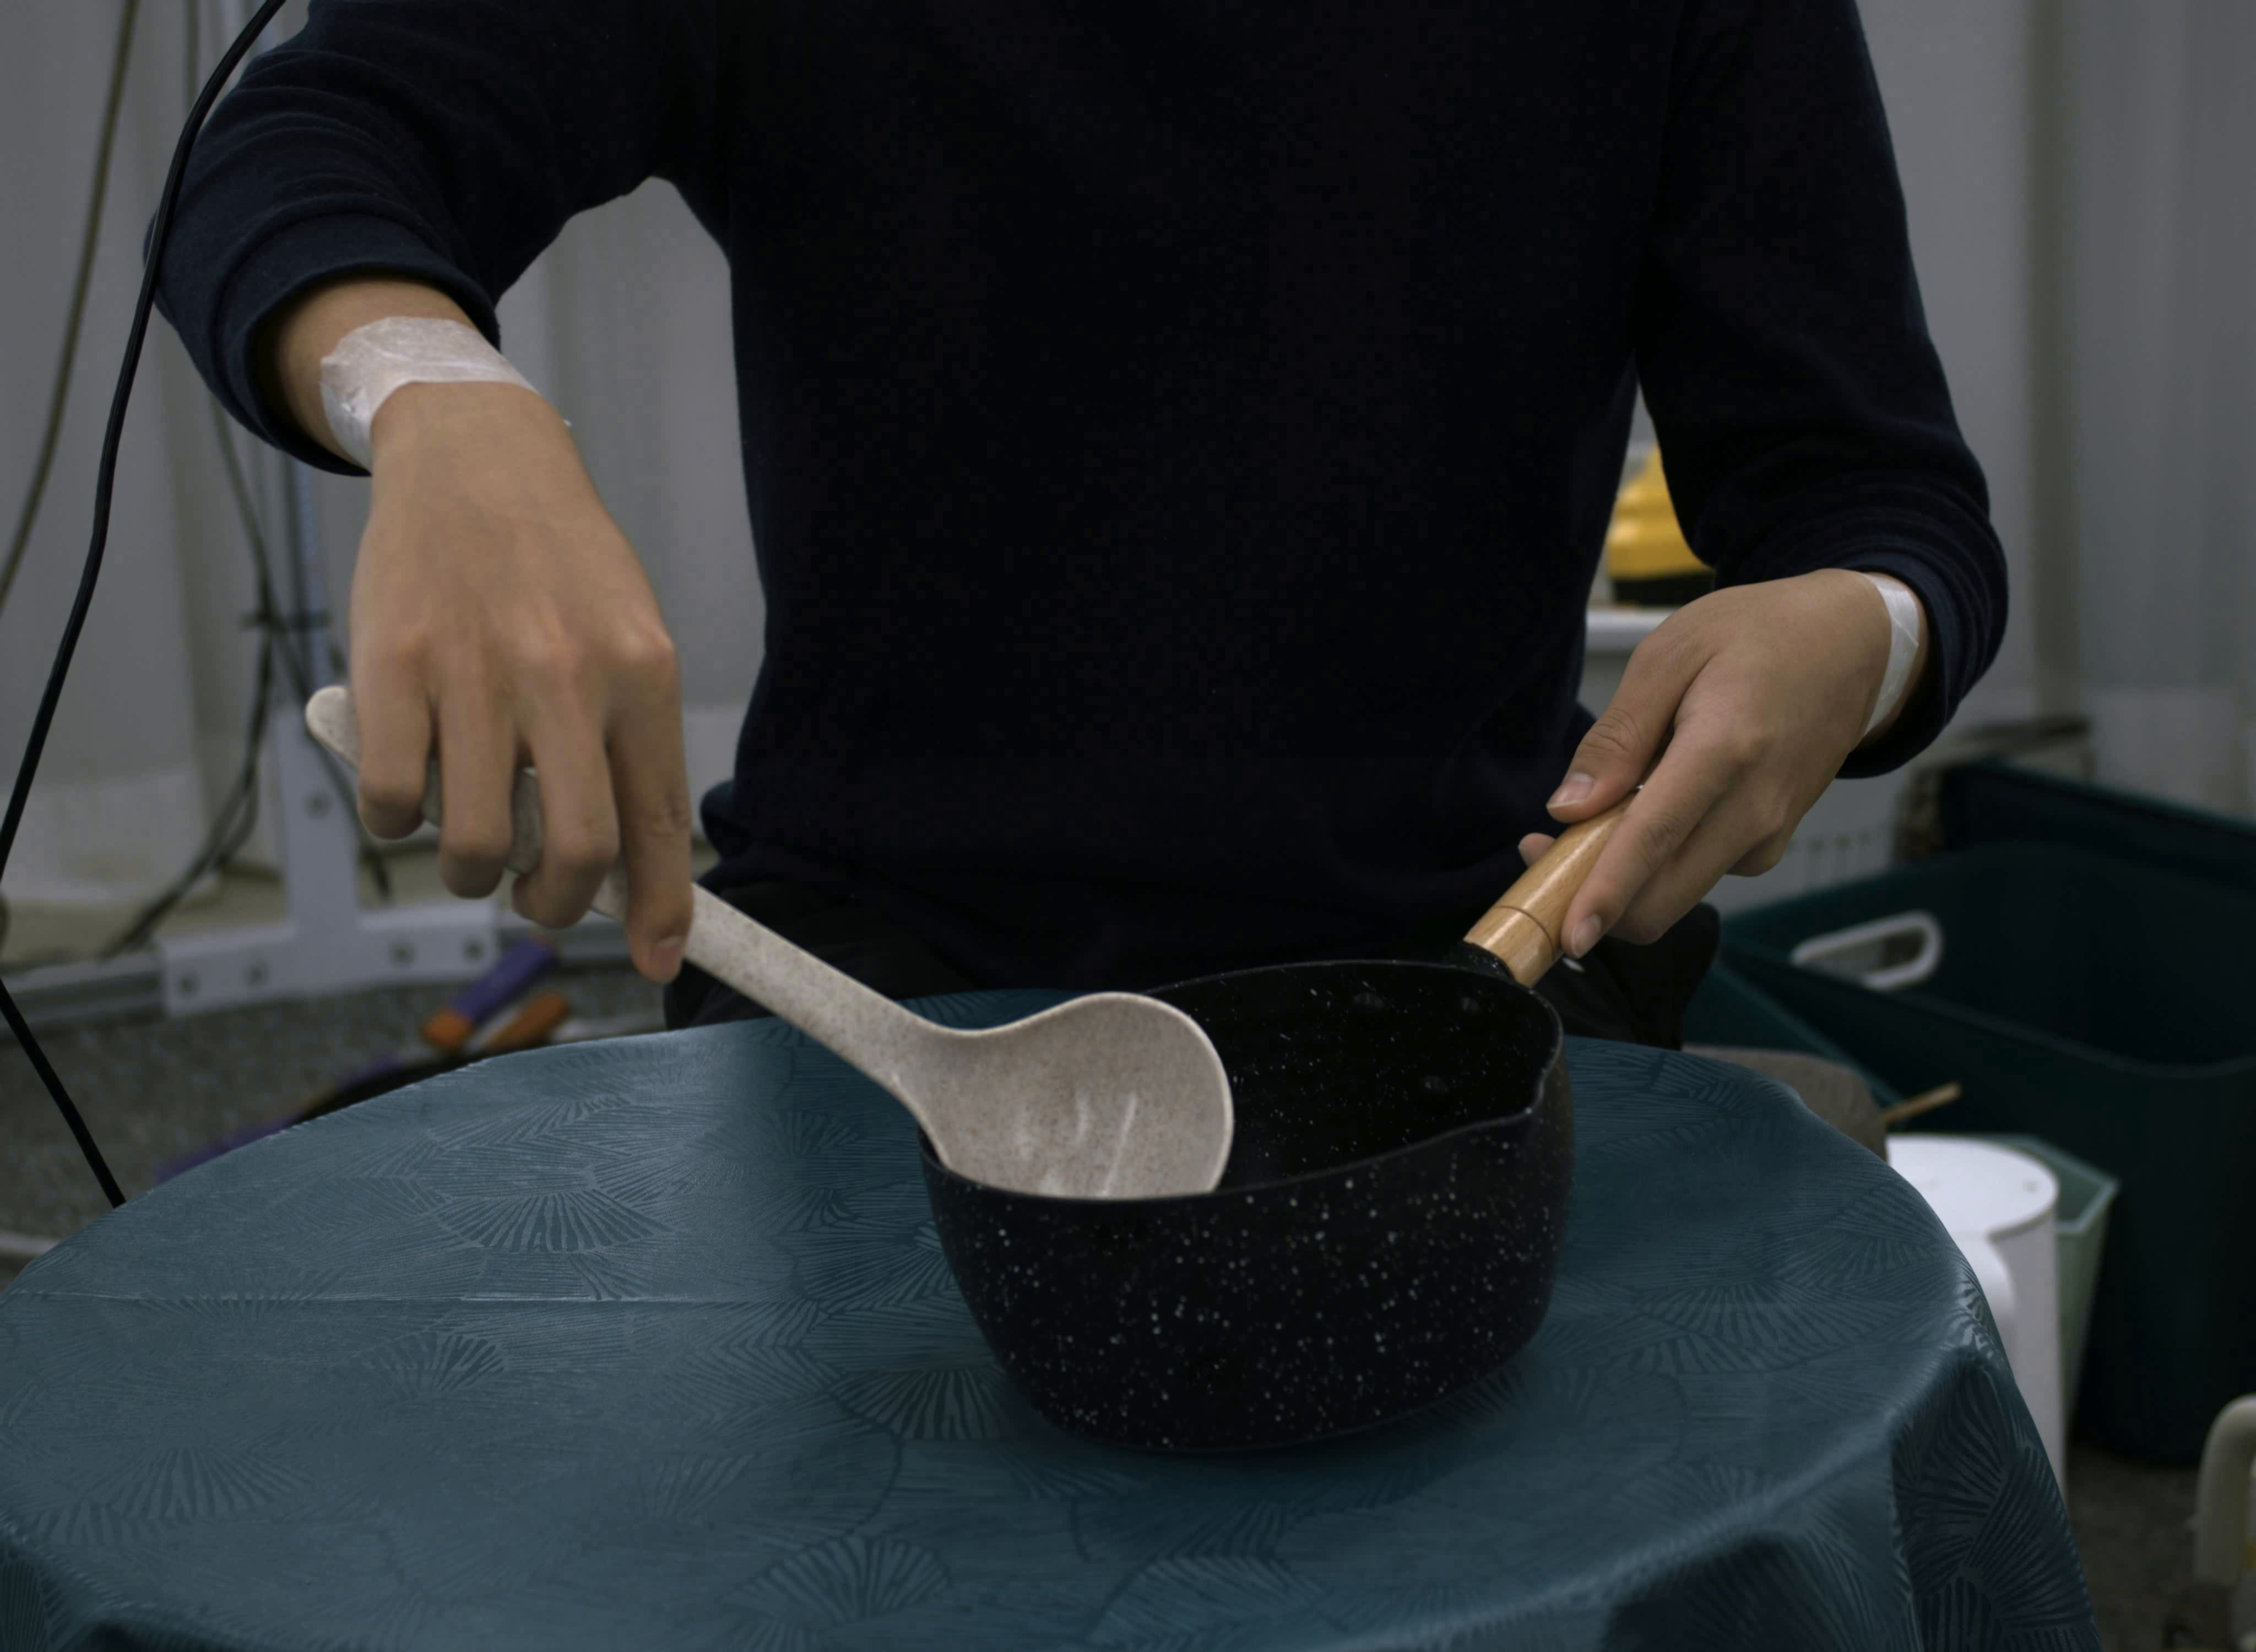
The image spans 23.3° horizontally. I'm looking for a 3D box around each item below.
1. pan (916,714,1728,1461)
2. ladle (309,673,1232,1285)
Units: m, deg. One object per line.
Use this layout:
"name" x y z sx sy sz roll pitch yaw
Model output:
"pan" 0.082 0.072 1.596 0.208 0.107 0.343 2 21 38
"ladle" -0.094 0.032 1.468 0.272 0.090 0.069 33 -17 -22
